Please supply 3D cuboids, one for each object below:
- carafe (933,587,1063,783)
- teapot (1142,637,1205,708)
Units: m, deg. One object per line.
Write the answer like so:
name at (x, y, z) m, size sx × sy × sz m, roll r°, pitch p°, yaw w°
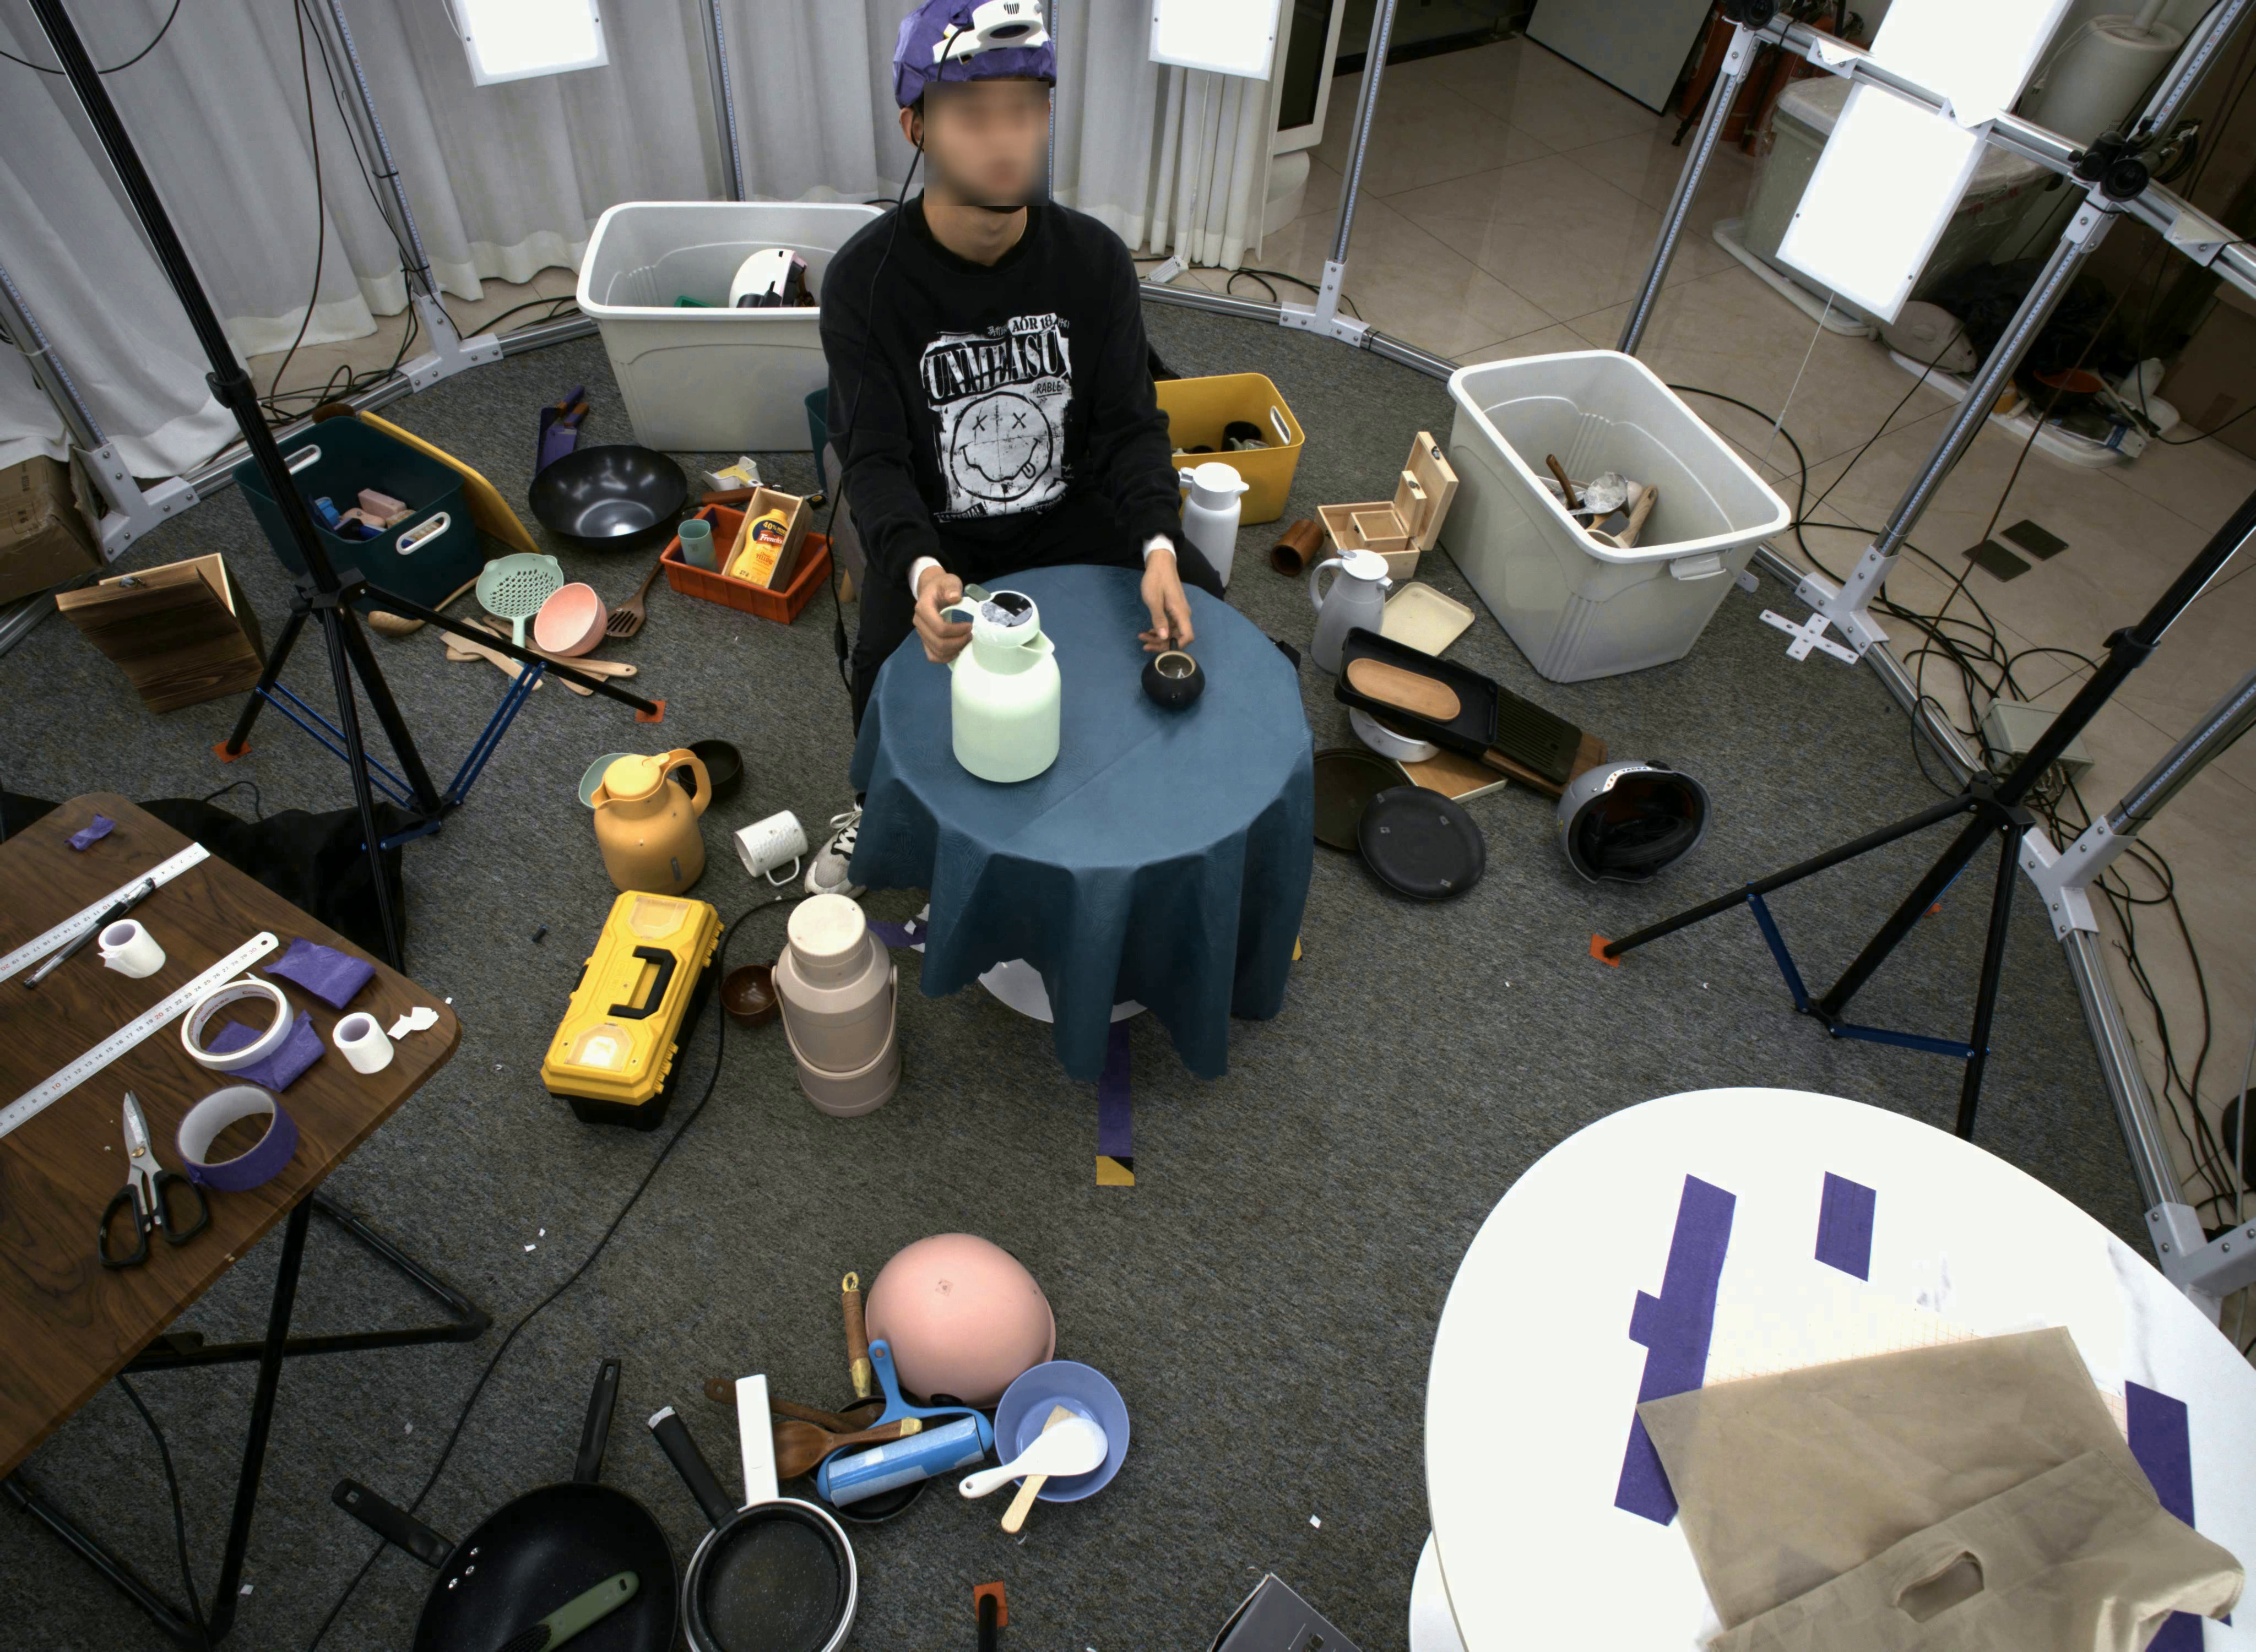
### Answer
carafe at (-0.169, -0.191, 1.664) m, size 0.189 × 0.250 × 0.146 m, roll 30°, pitch 55°, yaw 24°
teapot at (0.065, -0.211, 1.822) m, size 0.091 × 0.052 × 0.136 m, roll 3°, pitch 50°, yaw -3°
